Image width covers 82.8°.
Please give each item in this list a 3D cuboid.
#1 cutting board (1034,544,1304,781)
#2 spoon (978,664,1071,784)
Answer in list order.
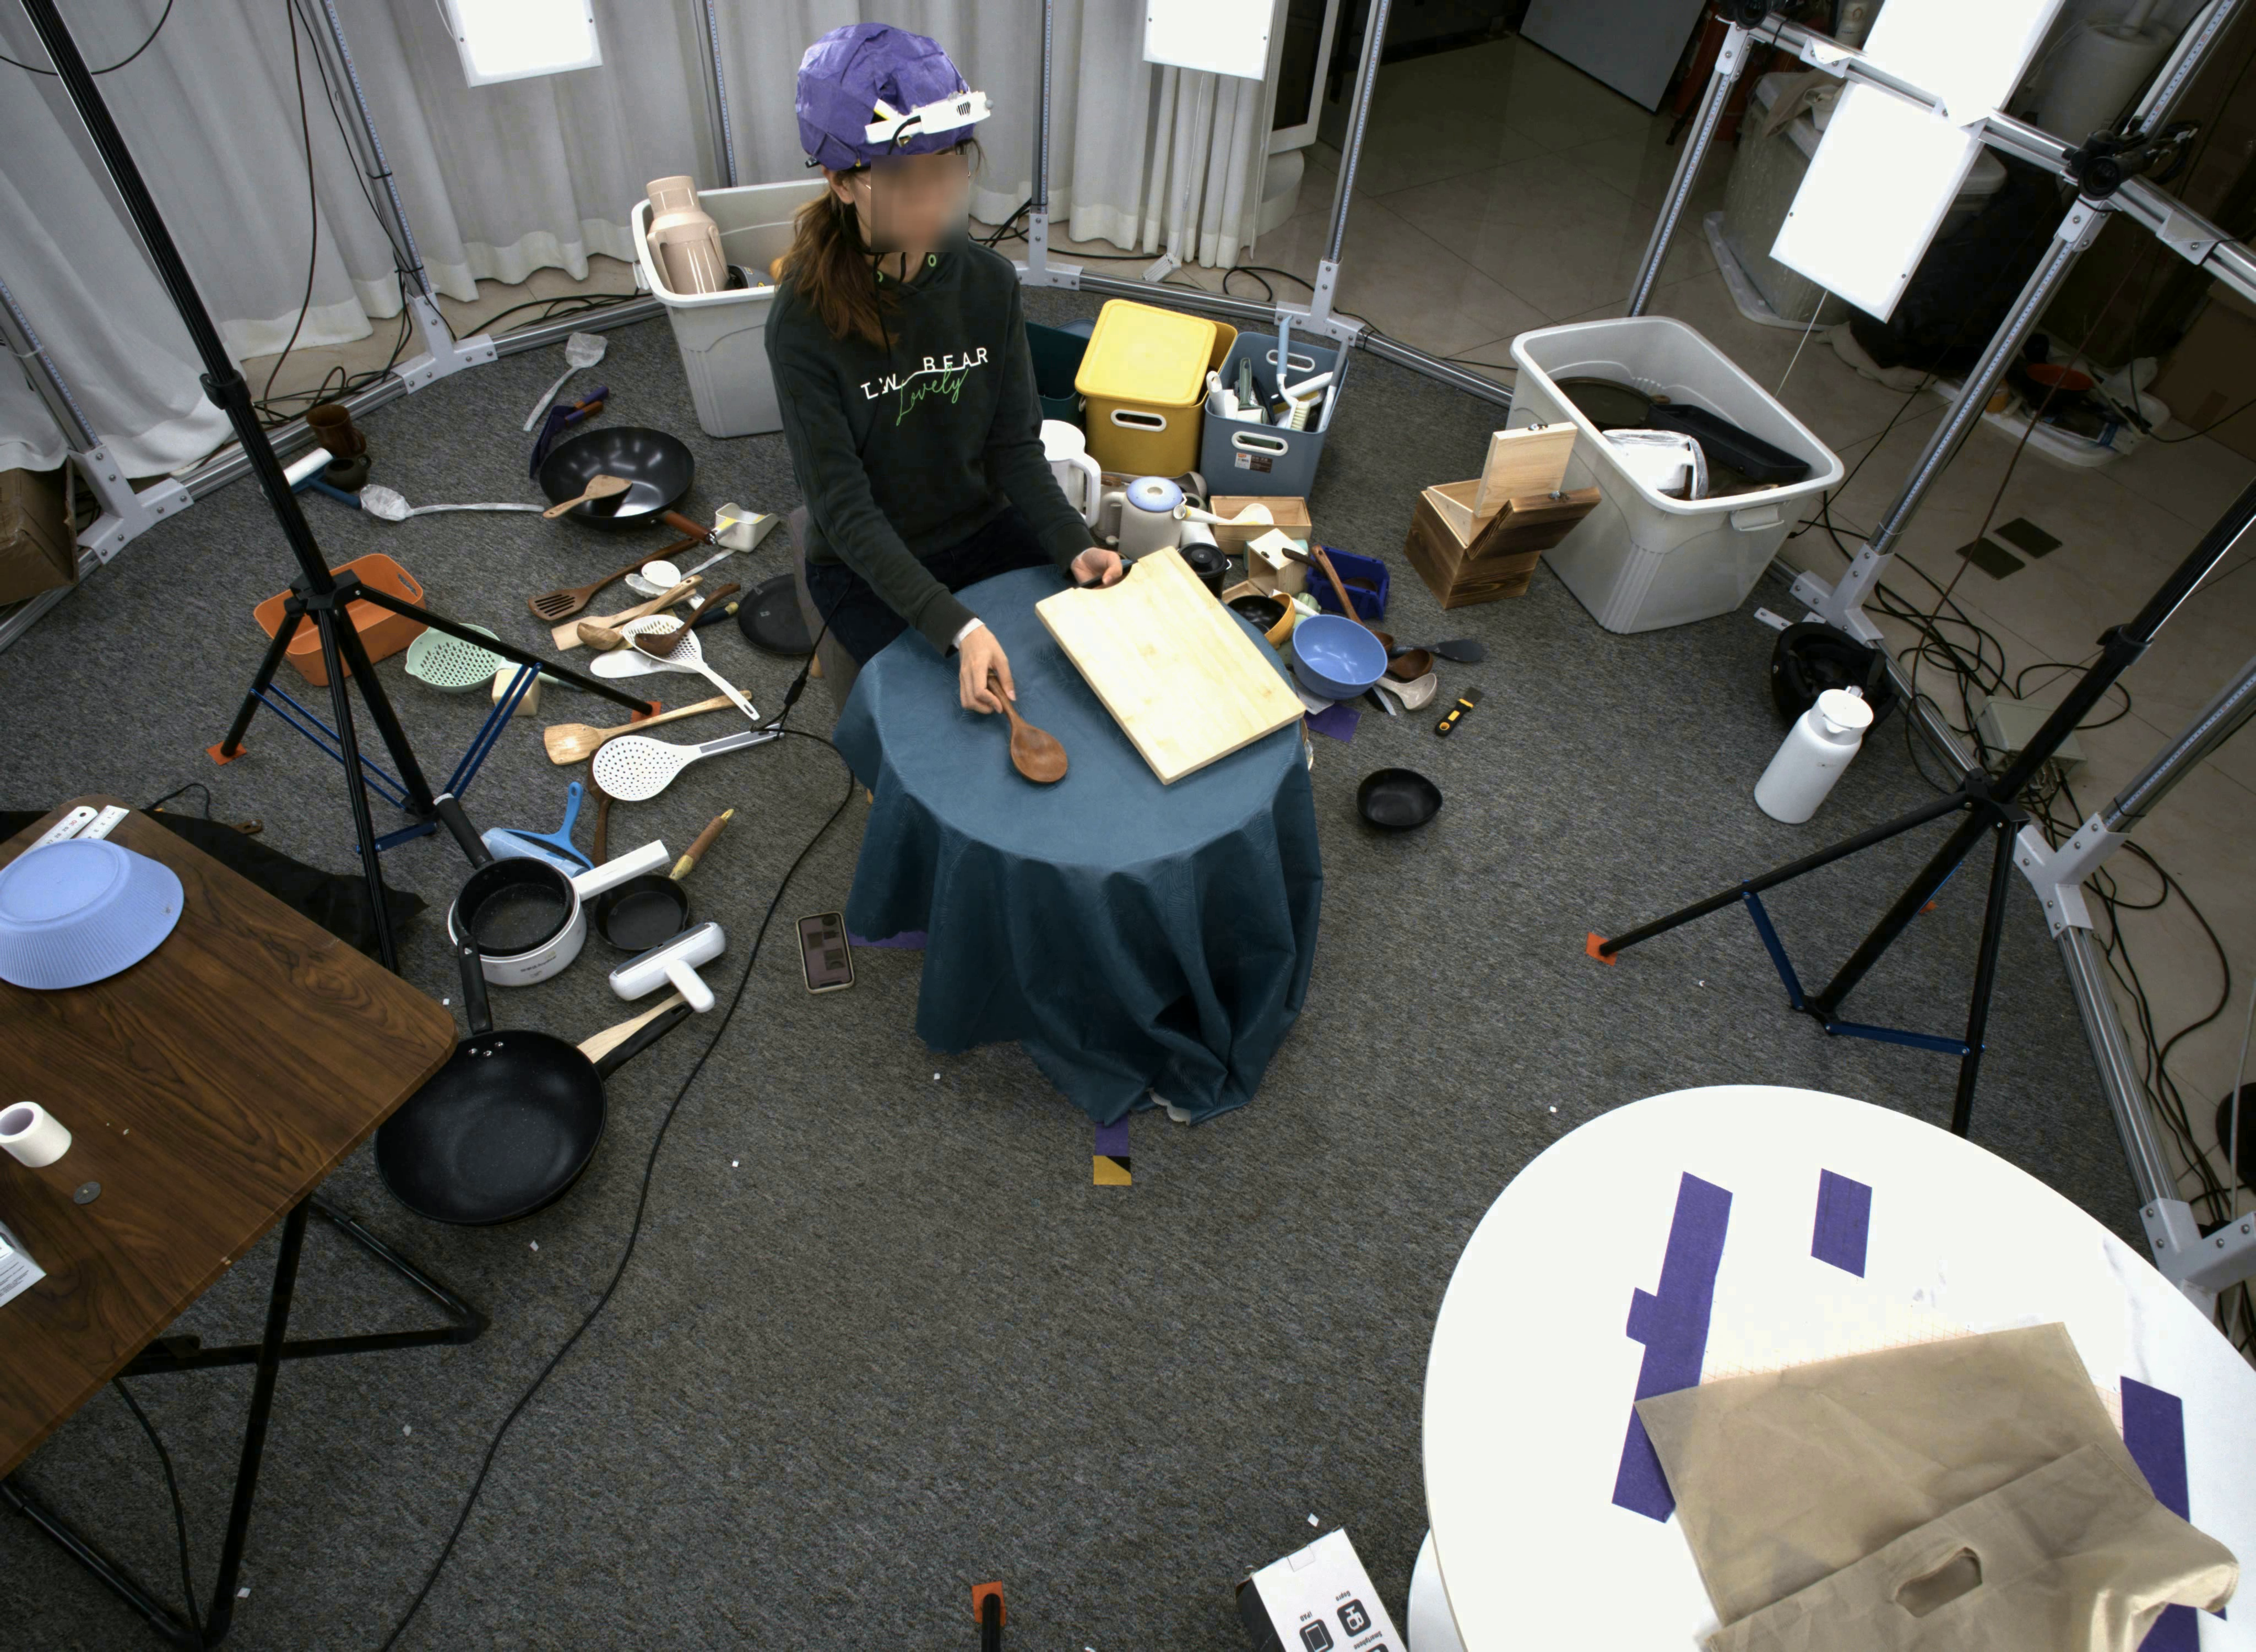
[{"bbox_3d":[0.056,-0.241,1.843,0.252,0.023,0.354,-27,65,-22],"label":"cutting board"},{"bbox_3d":[-0.150,-0.141,1.767,0.076,0.017,0.219,-21,64,-23],"label":"spoon"}]
